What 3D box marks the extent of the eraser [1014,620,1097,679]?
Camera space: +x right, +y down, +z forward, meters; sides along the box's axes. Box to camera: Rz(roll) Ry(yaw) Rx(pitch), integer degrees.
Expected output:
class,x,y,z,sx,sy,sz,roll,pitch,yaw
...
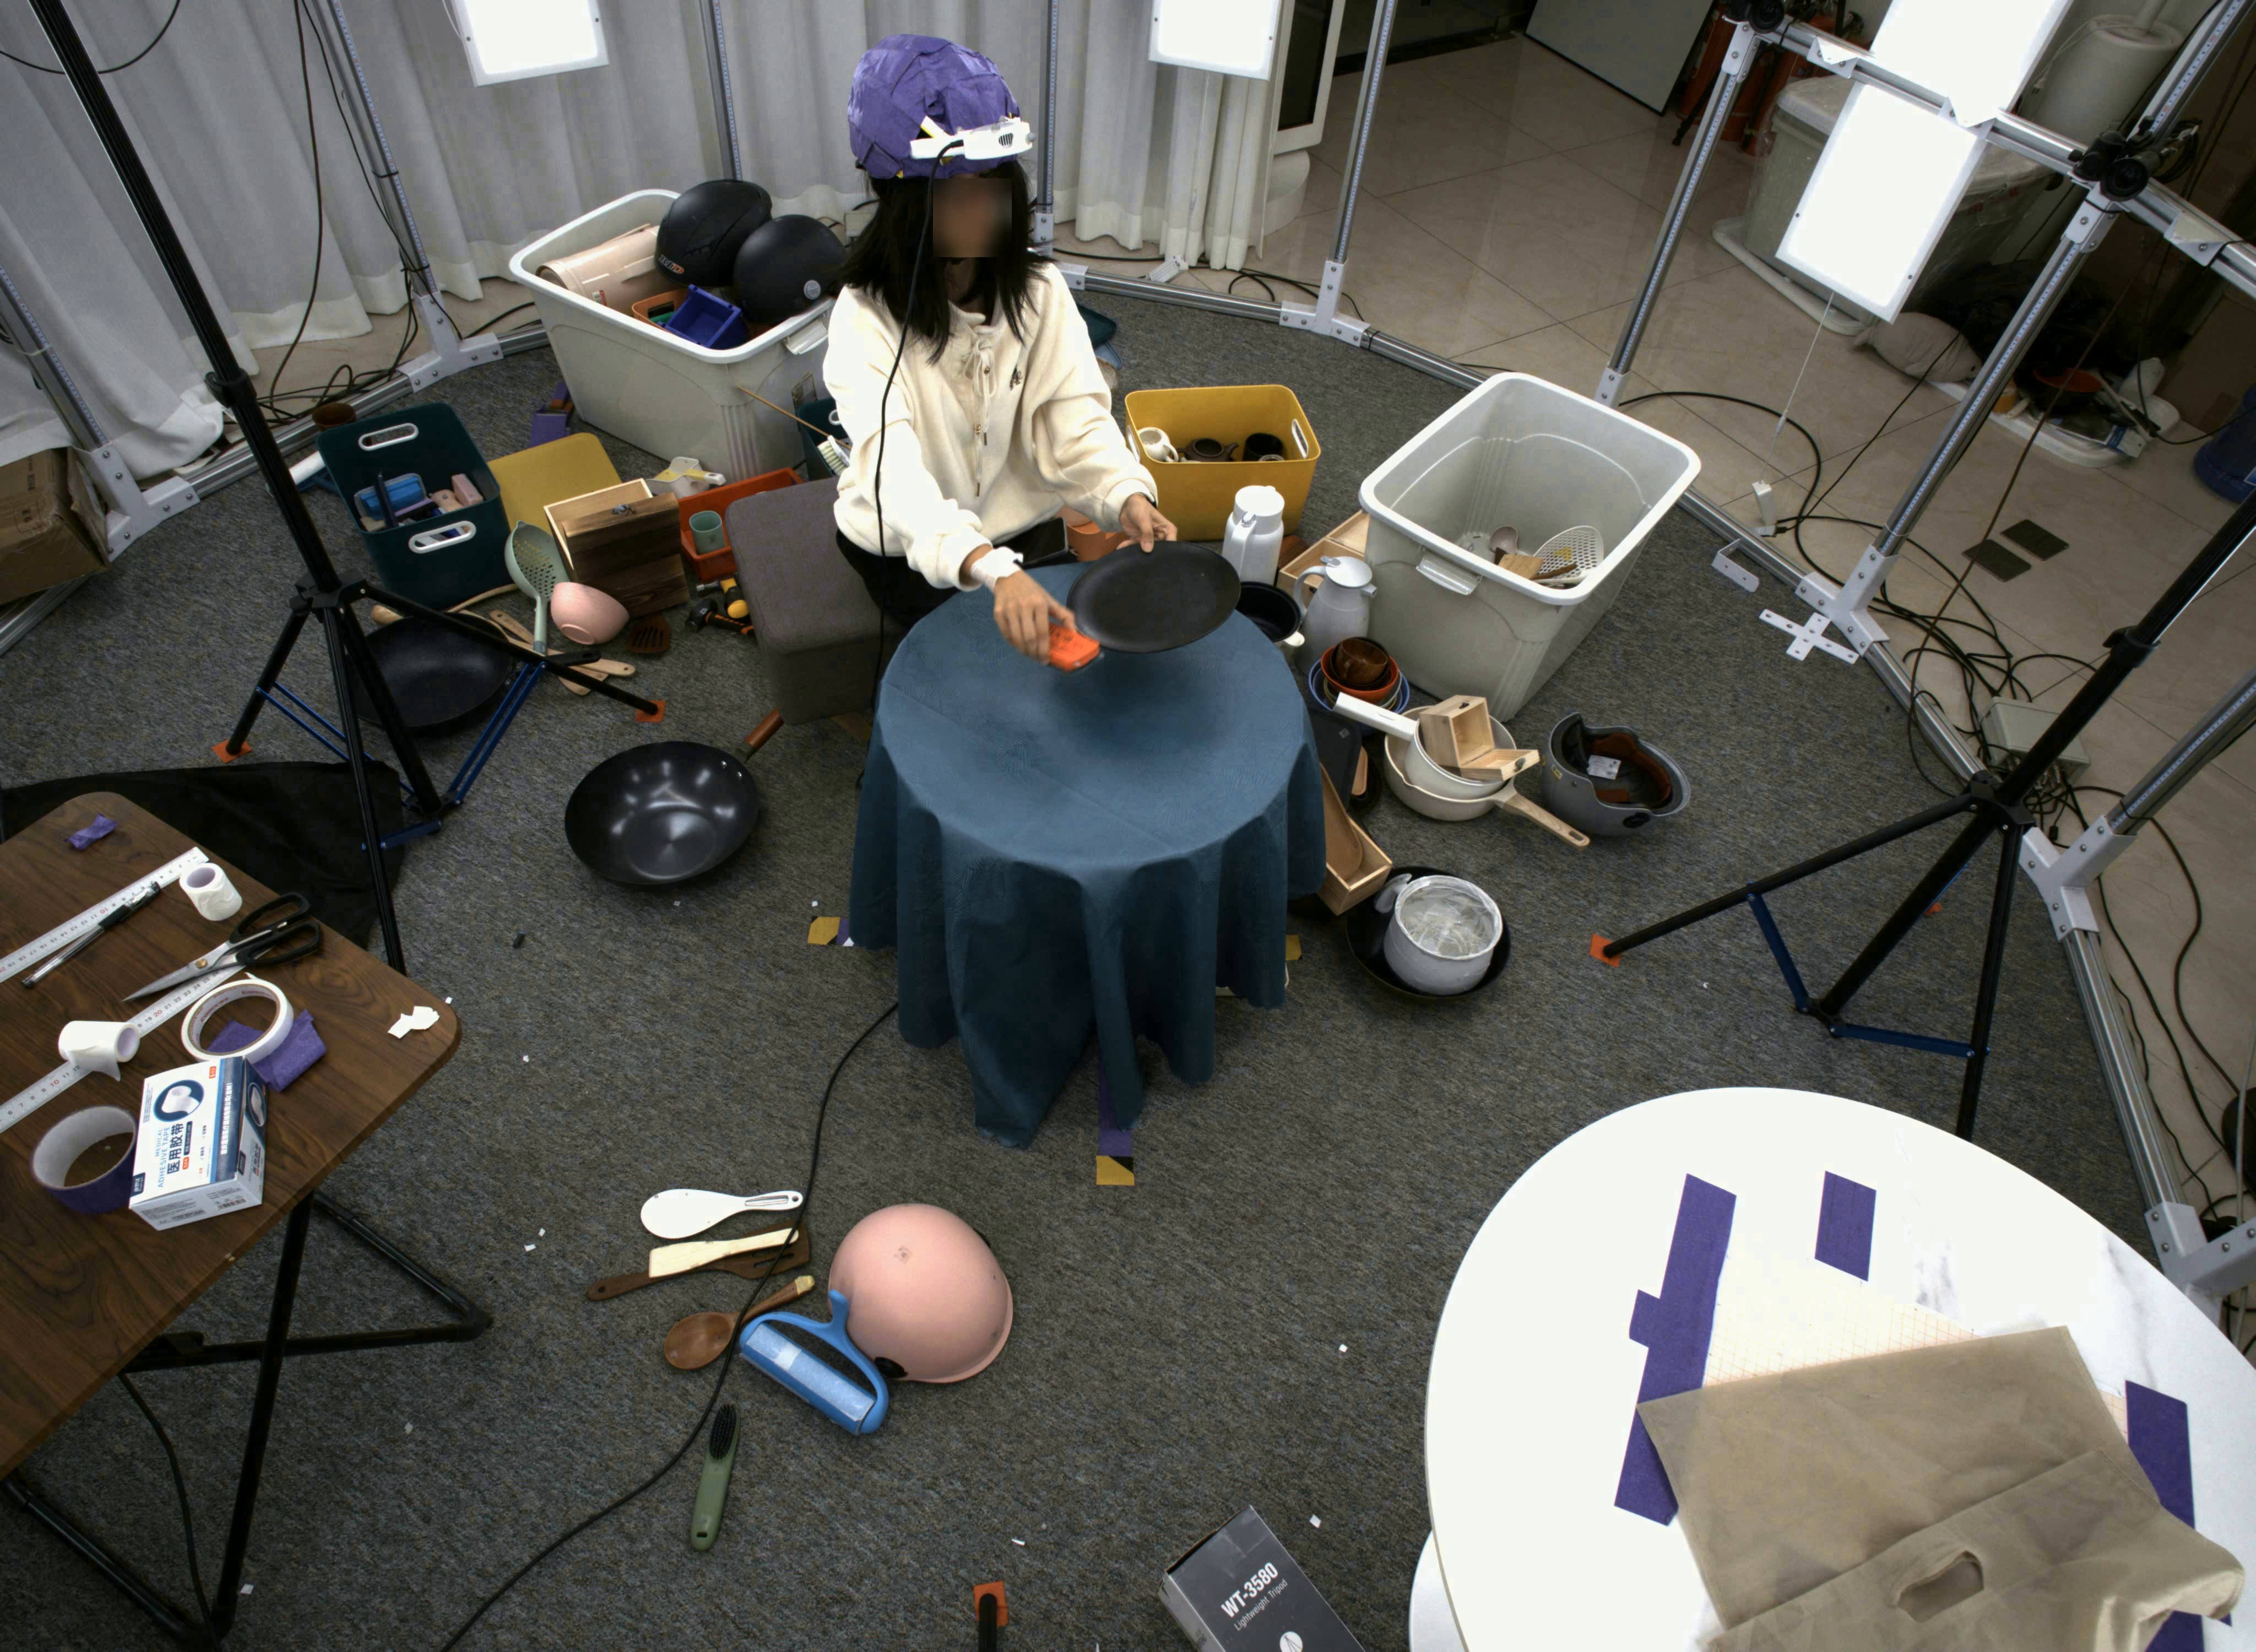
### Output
class,x,y,z,sx,sy,sz,roll,pitch,yaw
eraser,-0.095,-0.234,1.697,0.109,0.022,0.059,32,53,32

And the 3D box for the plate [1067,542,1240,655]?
class,x,y,z,sx,sy,sz,roll,pitch,yaw
plate,0.036,-0.316,1.795,0.244,0.023,0.250,-6,46,6
